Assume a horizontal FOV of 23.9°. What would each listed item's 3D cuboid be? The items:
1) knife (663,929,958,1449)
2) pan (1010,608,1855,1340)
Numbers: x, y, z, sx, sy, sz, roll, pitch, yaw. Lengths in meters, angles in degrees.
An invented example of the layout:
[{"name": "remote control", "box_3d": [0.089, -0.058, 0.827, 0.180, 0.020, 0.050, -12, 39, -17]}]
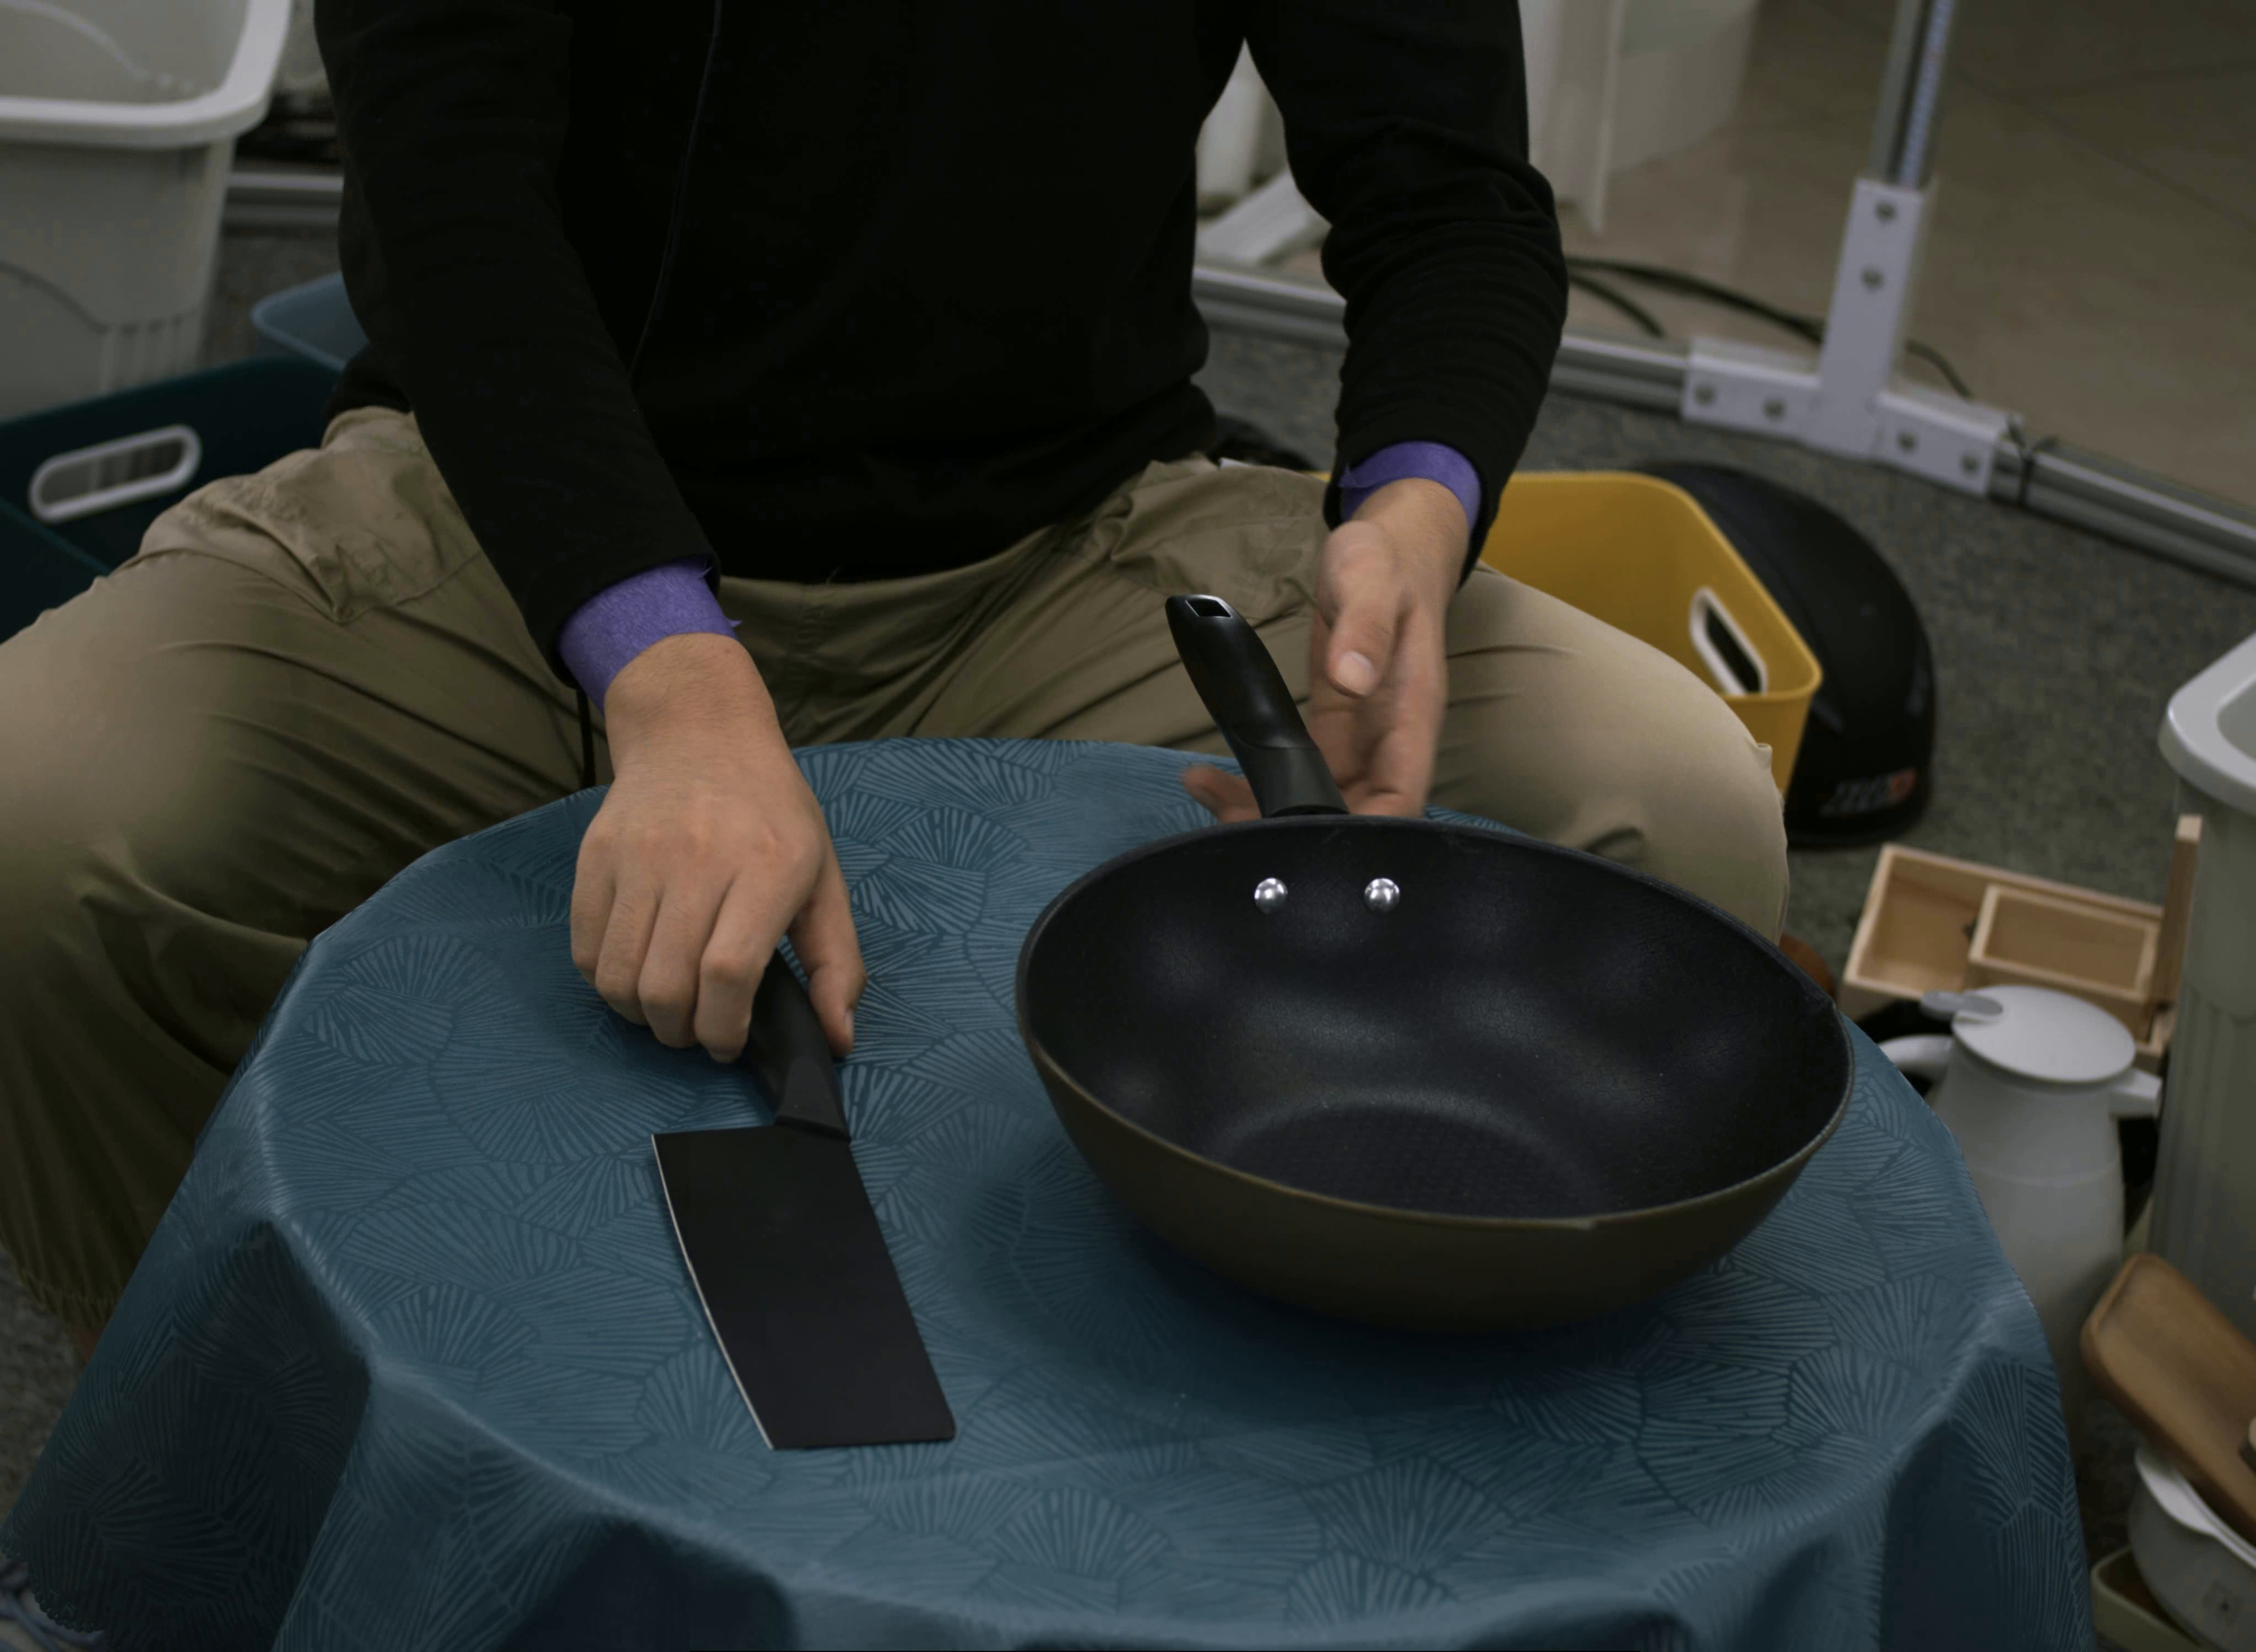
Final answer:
[{"name": "knife", "box_3d": [-0.116, 0.118, 1.776, 0.080, 0.021, 0.305, 0, 29, -11]}, {"name": "pan", "box_3d": [0.077, 0.054, 1.870, 0.286, 0.086, 0.467, -1, 27, -14]}]
